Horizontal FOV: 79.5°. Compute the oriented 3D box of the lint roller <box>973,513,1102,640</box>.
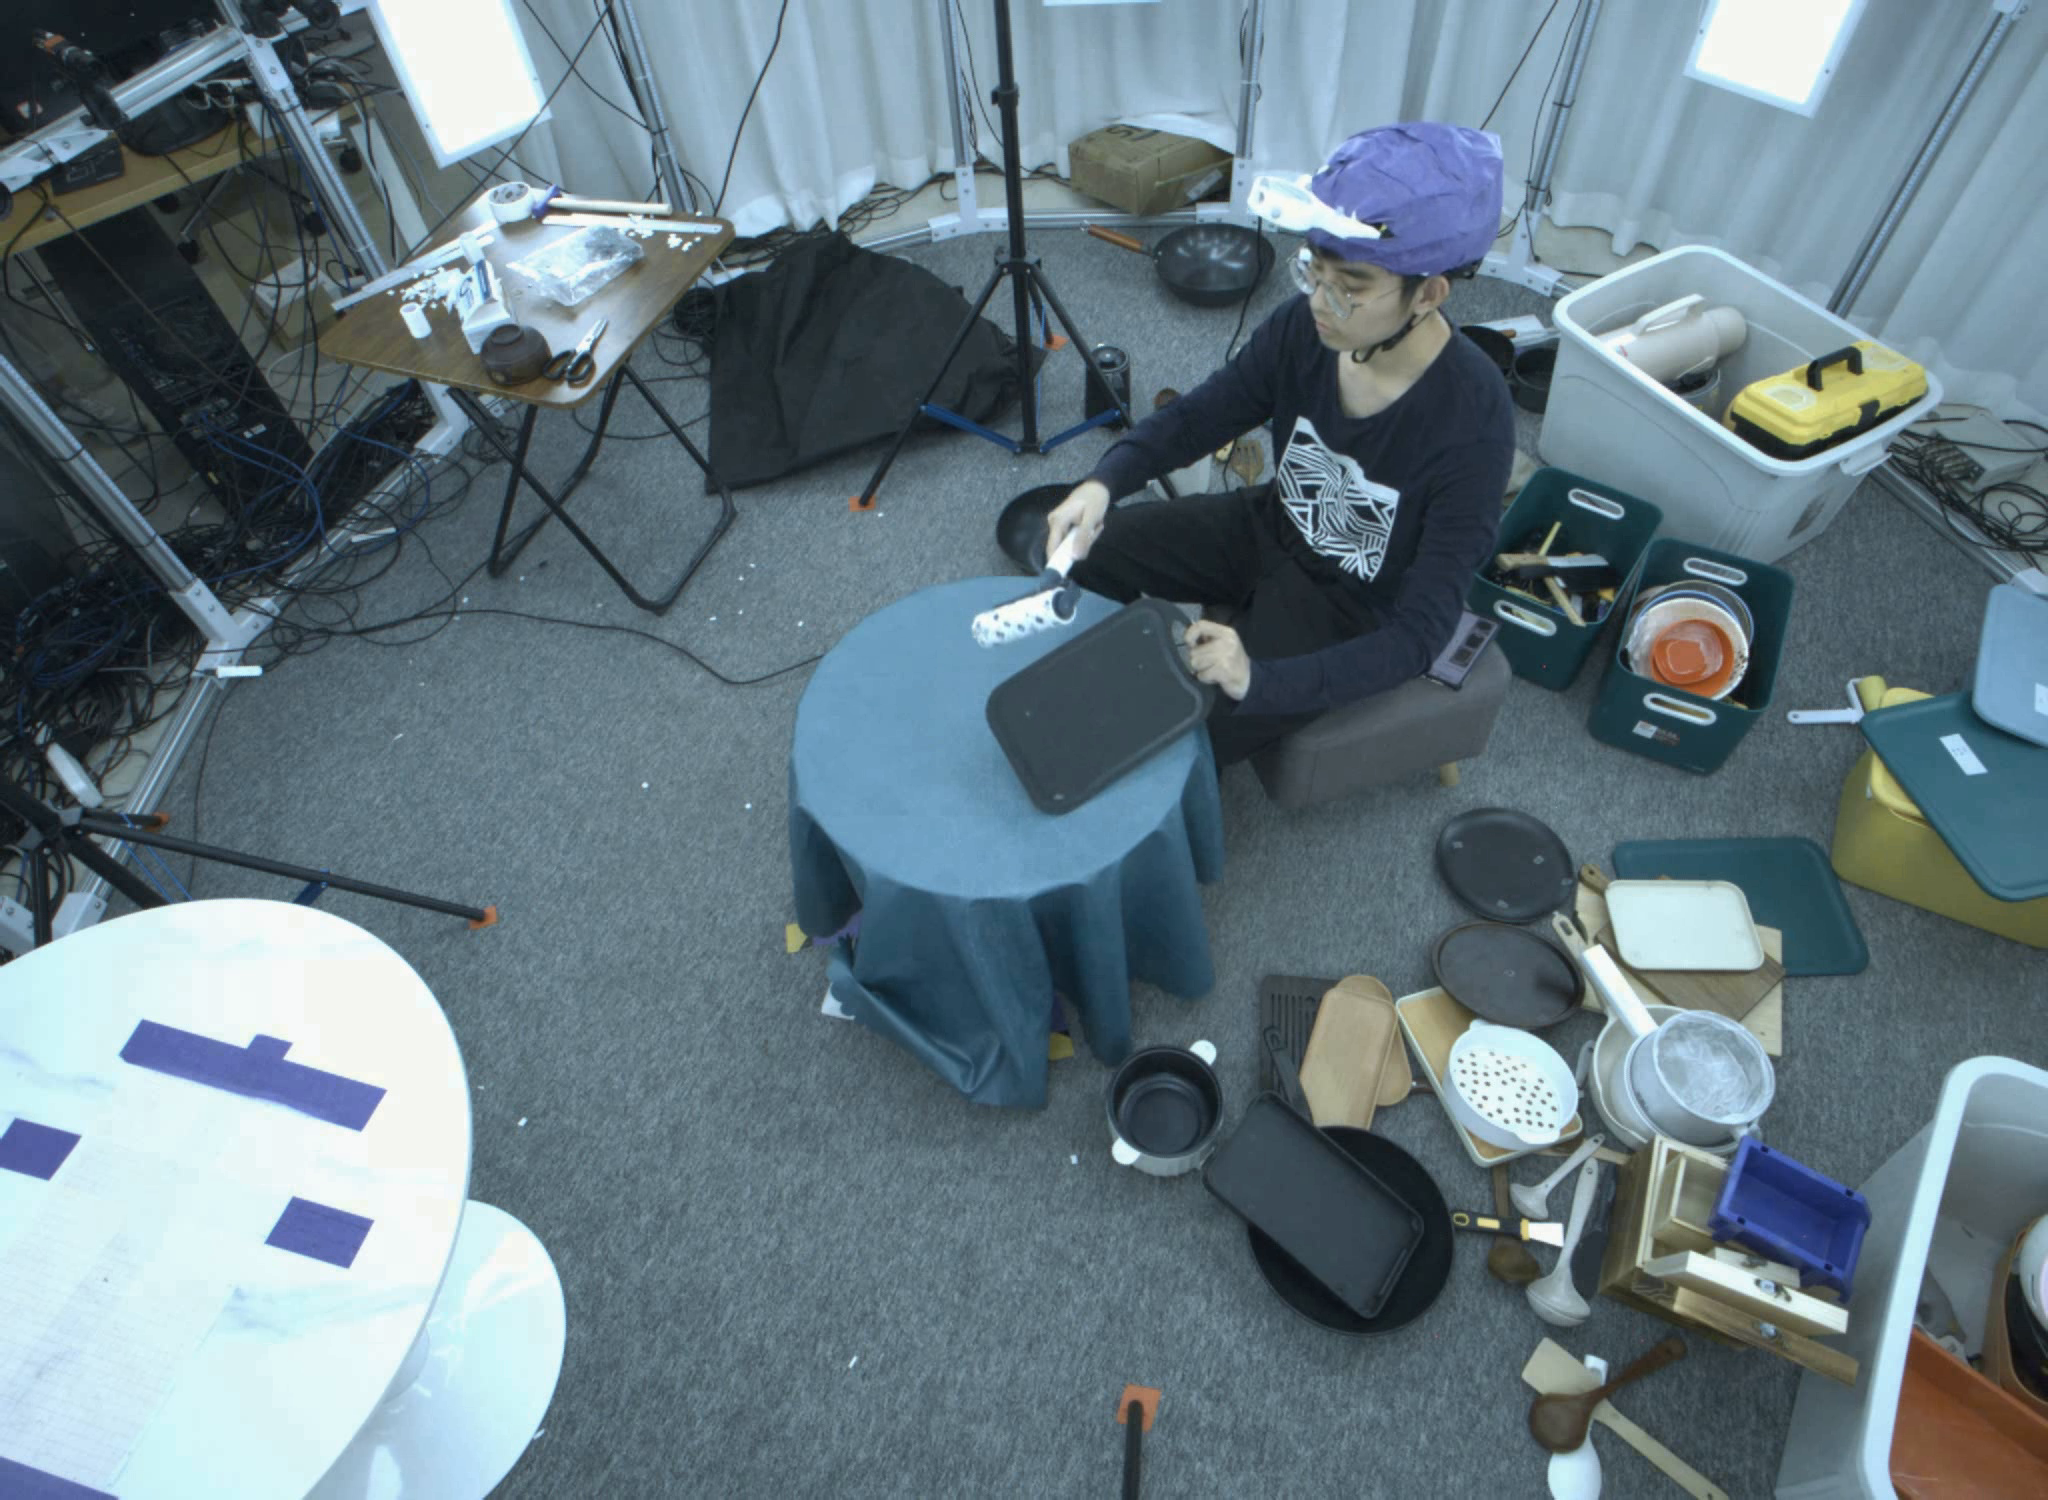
[{"bbox_3d":[0.042,-0.257,1.709,0.173,0.051,0.247,-13,37,47],"label":"lint roller"}]

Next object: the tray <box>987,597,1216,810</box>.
[{"bbox_3d":[0.118,-0.069,1.717,0.327,0.214,0.009,-31,20,-10],"label":"tray"}]
